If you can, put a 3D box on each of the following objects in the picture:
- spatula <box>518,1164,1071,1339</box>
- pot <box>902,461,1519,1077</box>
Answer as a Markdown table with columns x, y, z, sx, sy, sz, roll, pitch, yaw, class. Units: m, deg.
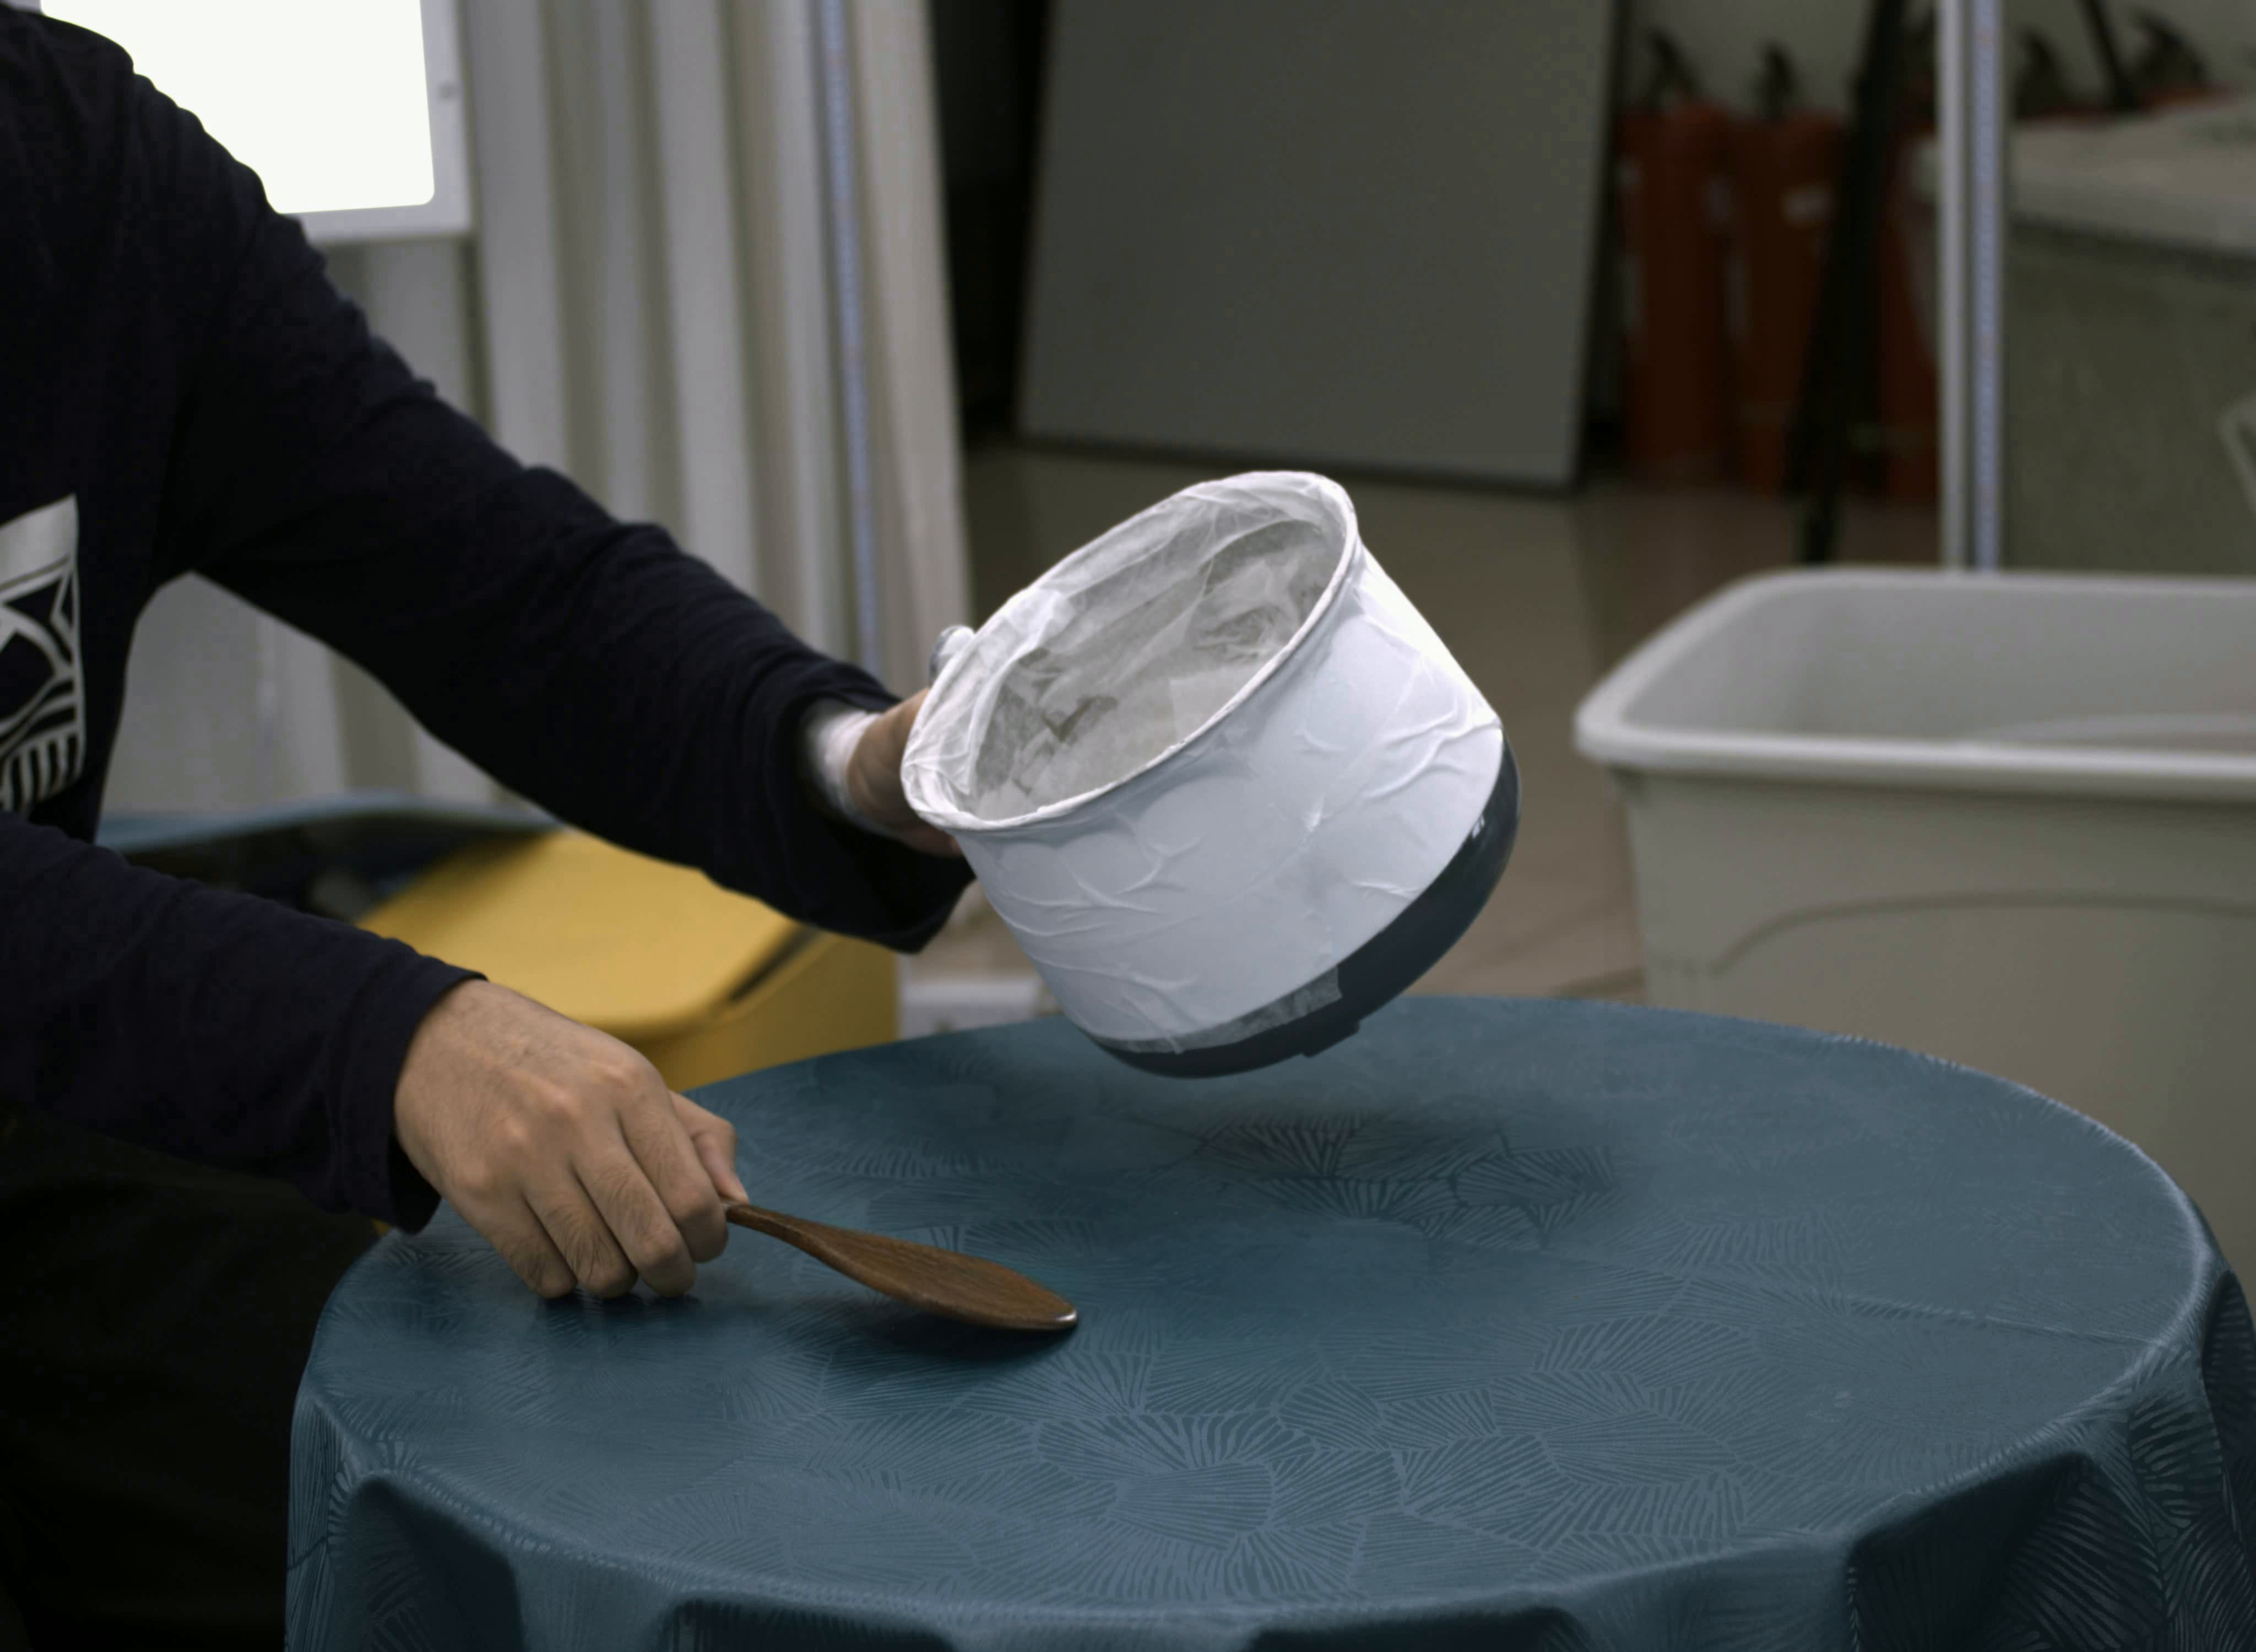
| x | y | z | sx | sy | sz | roll | pitch | yaw | class |
| --- | --- | --- | --- | --- | --- | --- | --- | --- | --- |
| -0.107 | 0.131 | 1.688 | 0.217 | 0.009 | 0.070 | 13 | 3 | 36 | spatula |
| 0.015 | -0.015 | 1.809 | 0.236 | 0.136 | 0.177 | 2 | 41 | 52 | pot |
